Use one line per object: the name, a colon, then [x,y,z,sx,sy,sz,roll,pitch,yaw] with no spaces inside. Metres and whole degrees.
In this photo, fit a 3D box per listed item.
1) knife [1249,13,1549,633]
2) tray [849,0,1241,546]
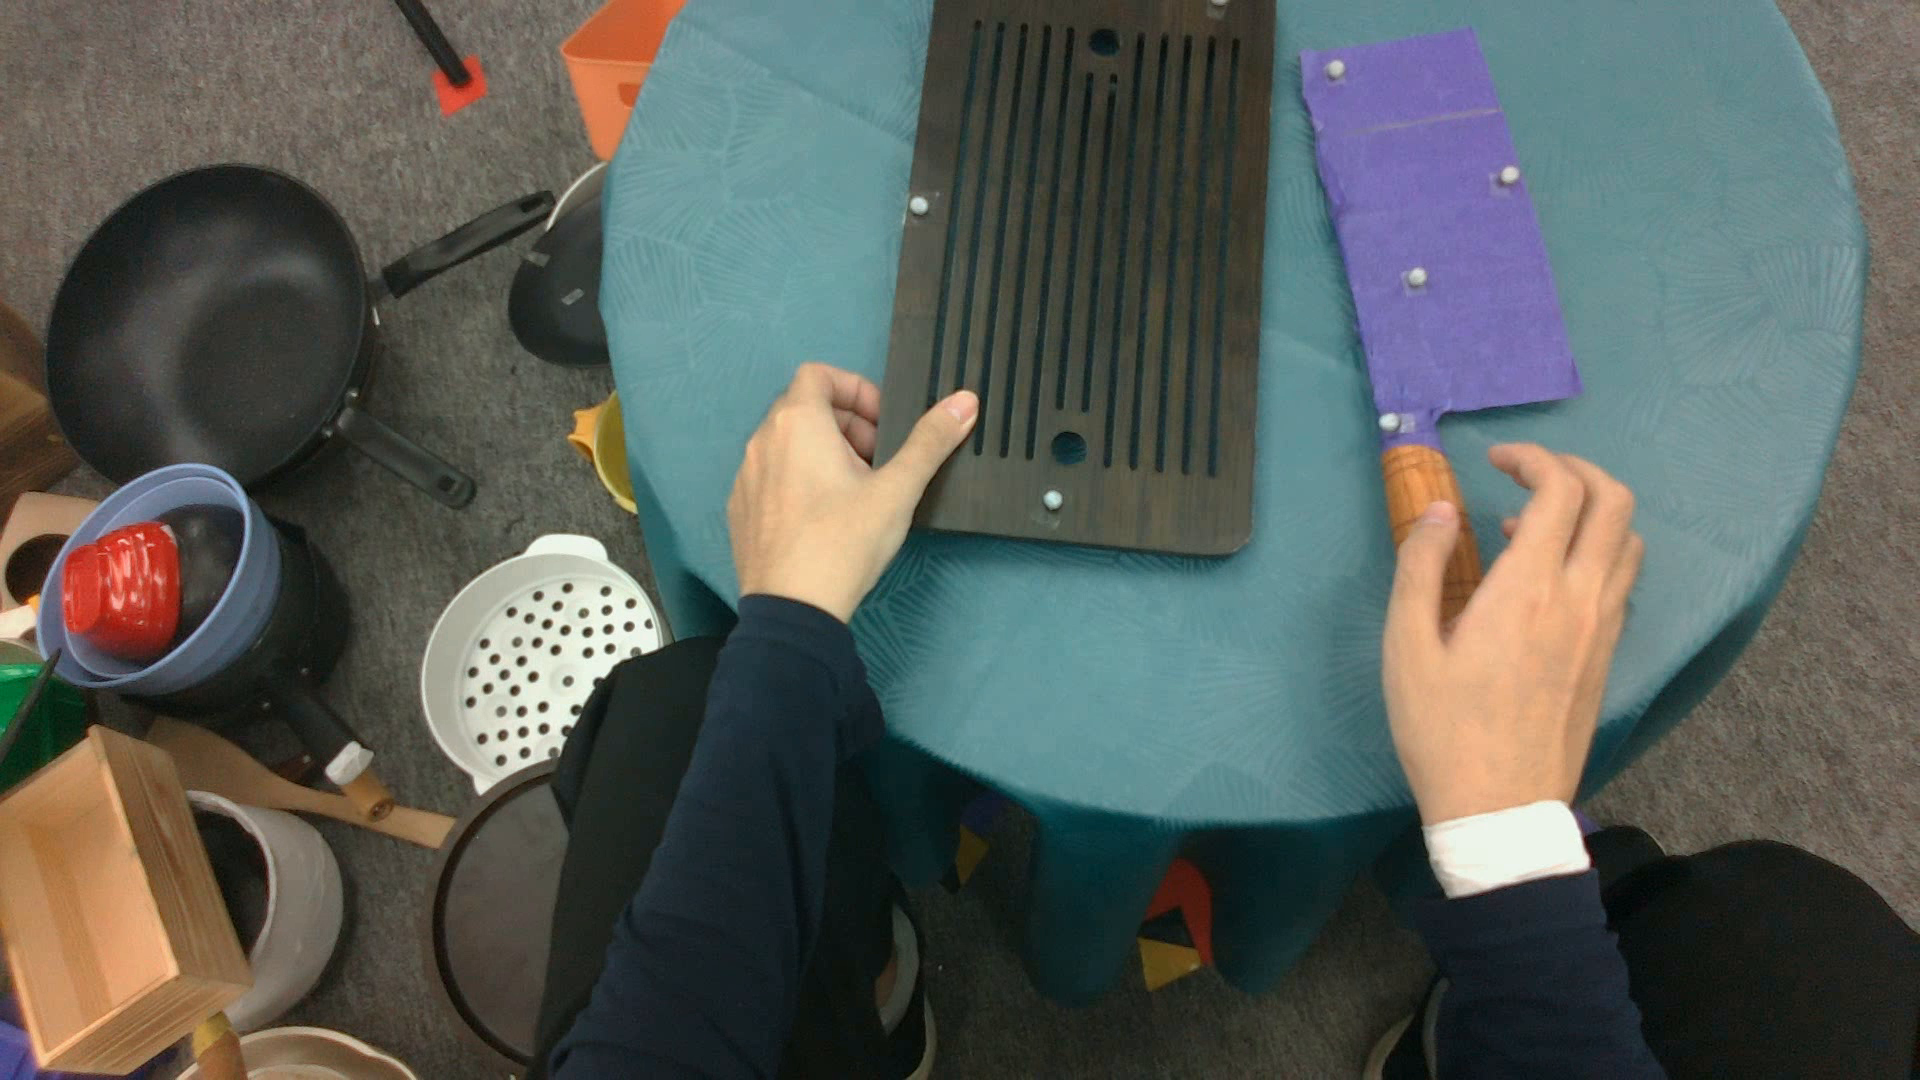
knife: [0.214,-0.115,0.632,0.104,0.032,0.316,-8,70,2]
tray: [0.046,-0.147,0.649,0.170,0.018,0.307,5,72,-2]
